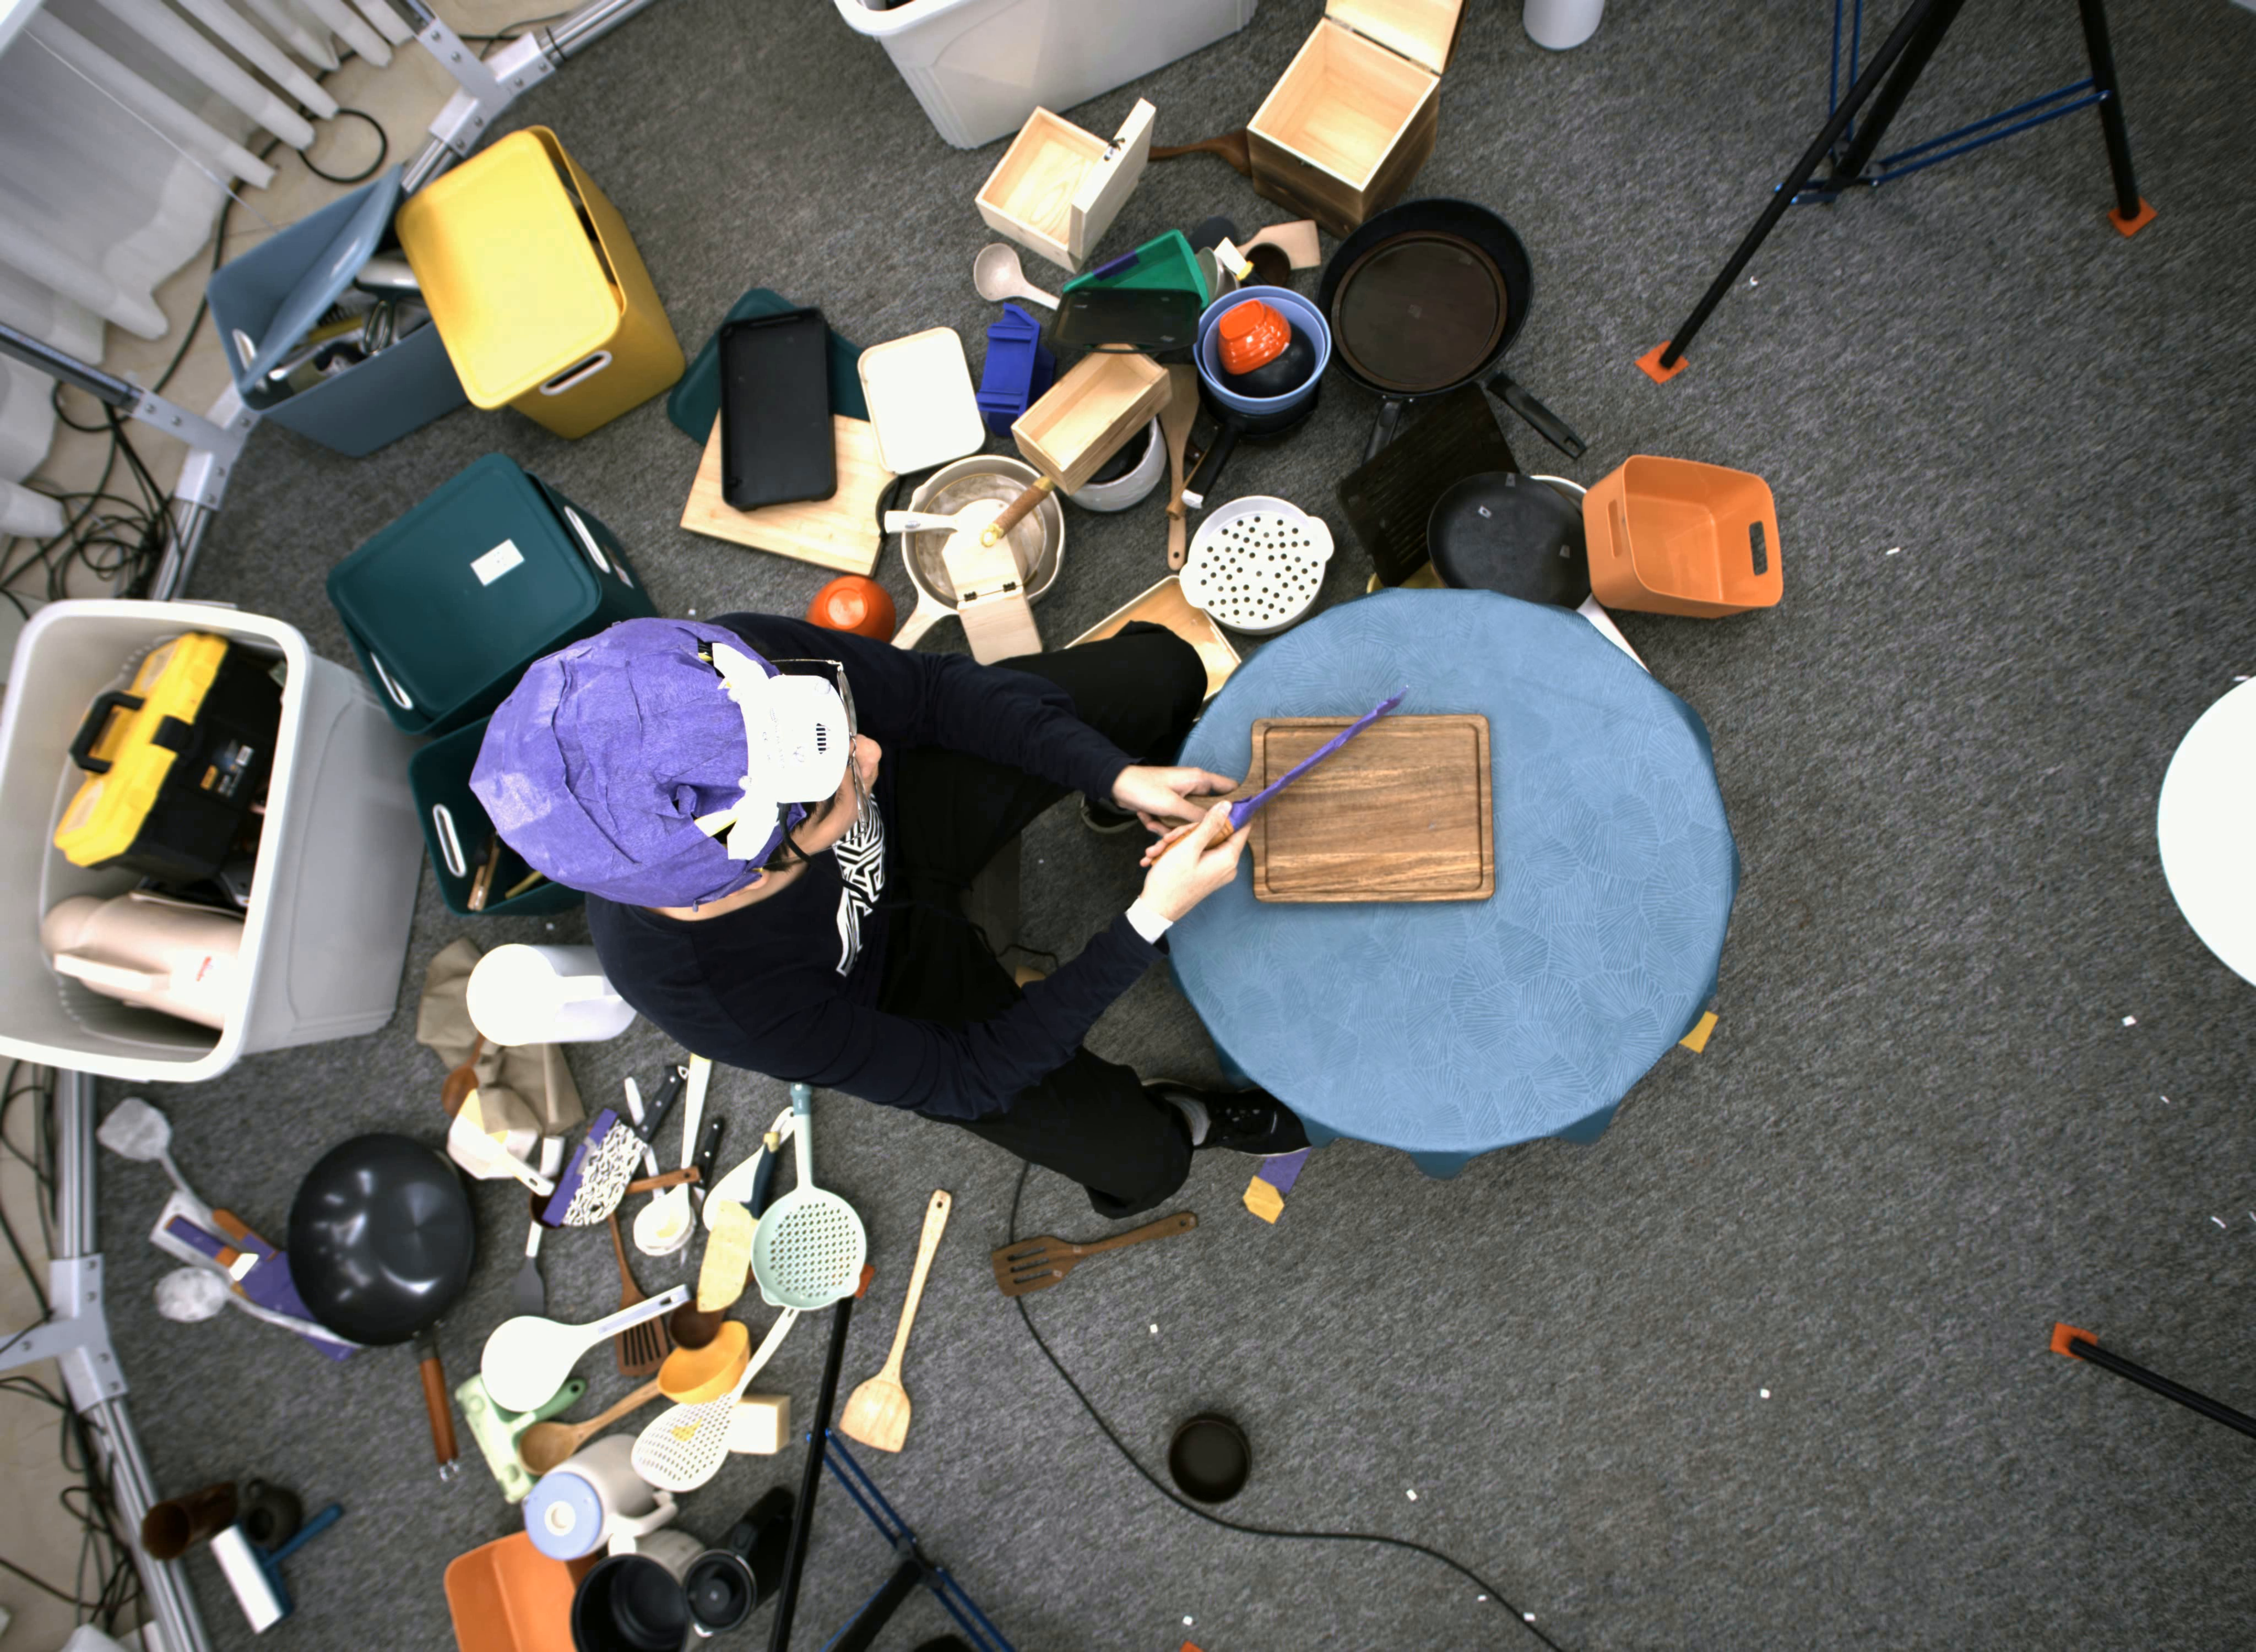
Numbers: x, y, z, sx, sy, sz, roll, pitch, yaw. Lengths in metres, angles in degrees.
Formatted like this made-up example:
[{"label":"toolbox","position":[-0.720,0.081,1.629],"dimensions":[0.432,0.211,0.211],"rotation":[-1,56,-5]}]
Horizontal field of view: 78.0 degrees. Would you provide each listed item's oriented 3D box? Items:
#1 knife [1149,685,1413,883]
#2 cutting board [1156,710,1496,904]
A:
[{"label":"knife","position":[0.160,-0.040,1.401],"dimensions":[0.316,0.104,0.032],"rotation":[-35,80,4]},{"label":"cutting board","position":[0.205,-0.020,1.452],"dimensions":[0.353,0.023,0.200],"rotation":[-1,87,6]}]
